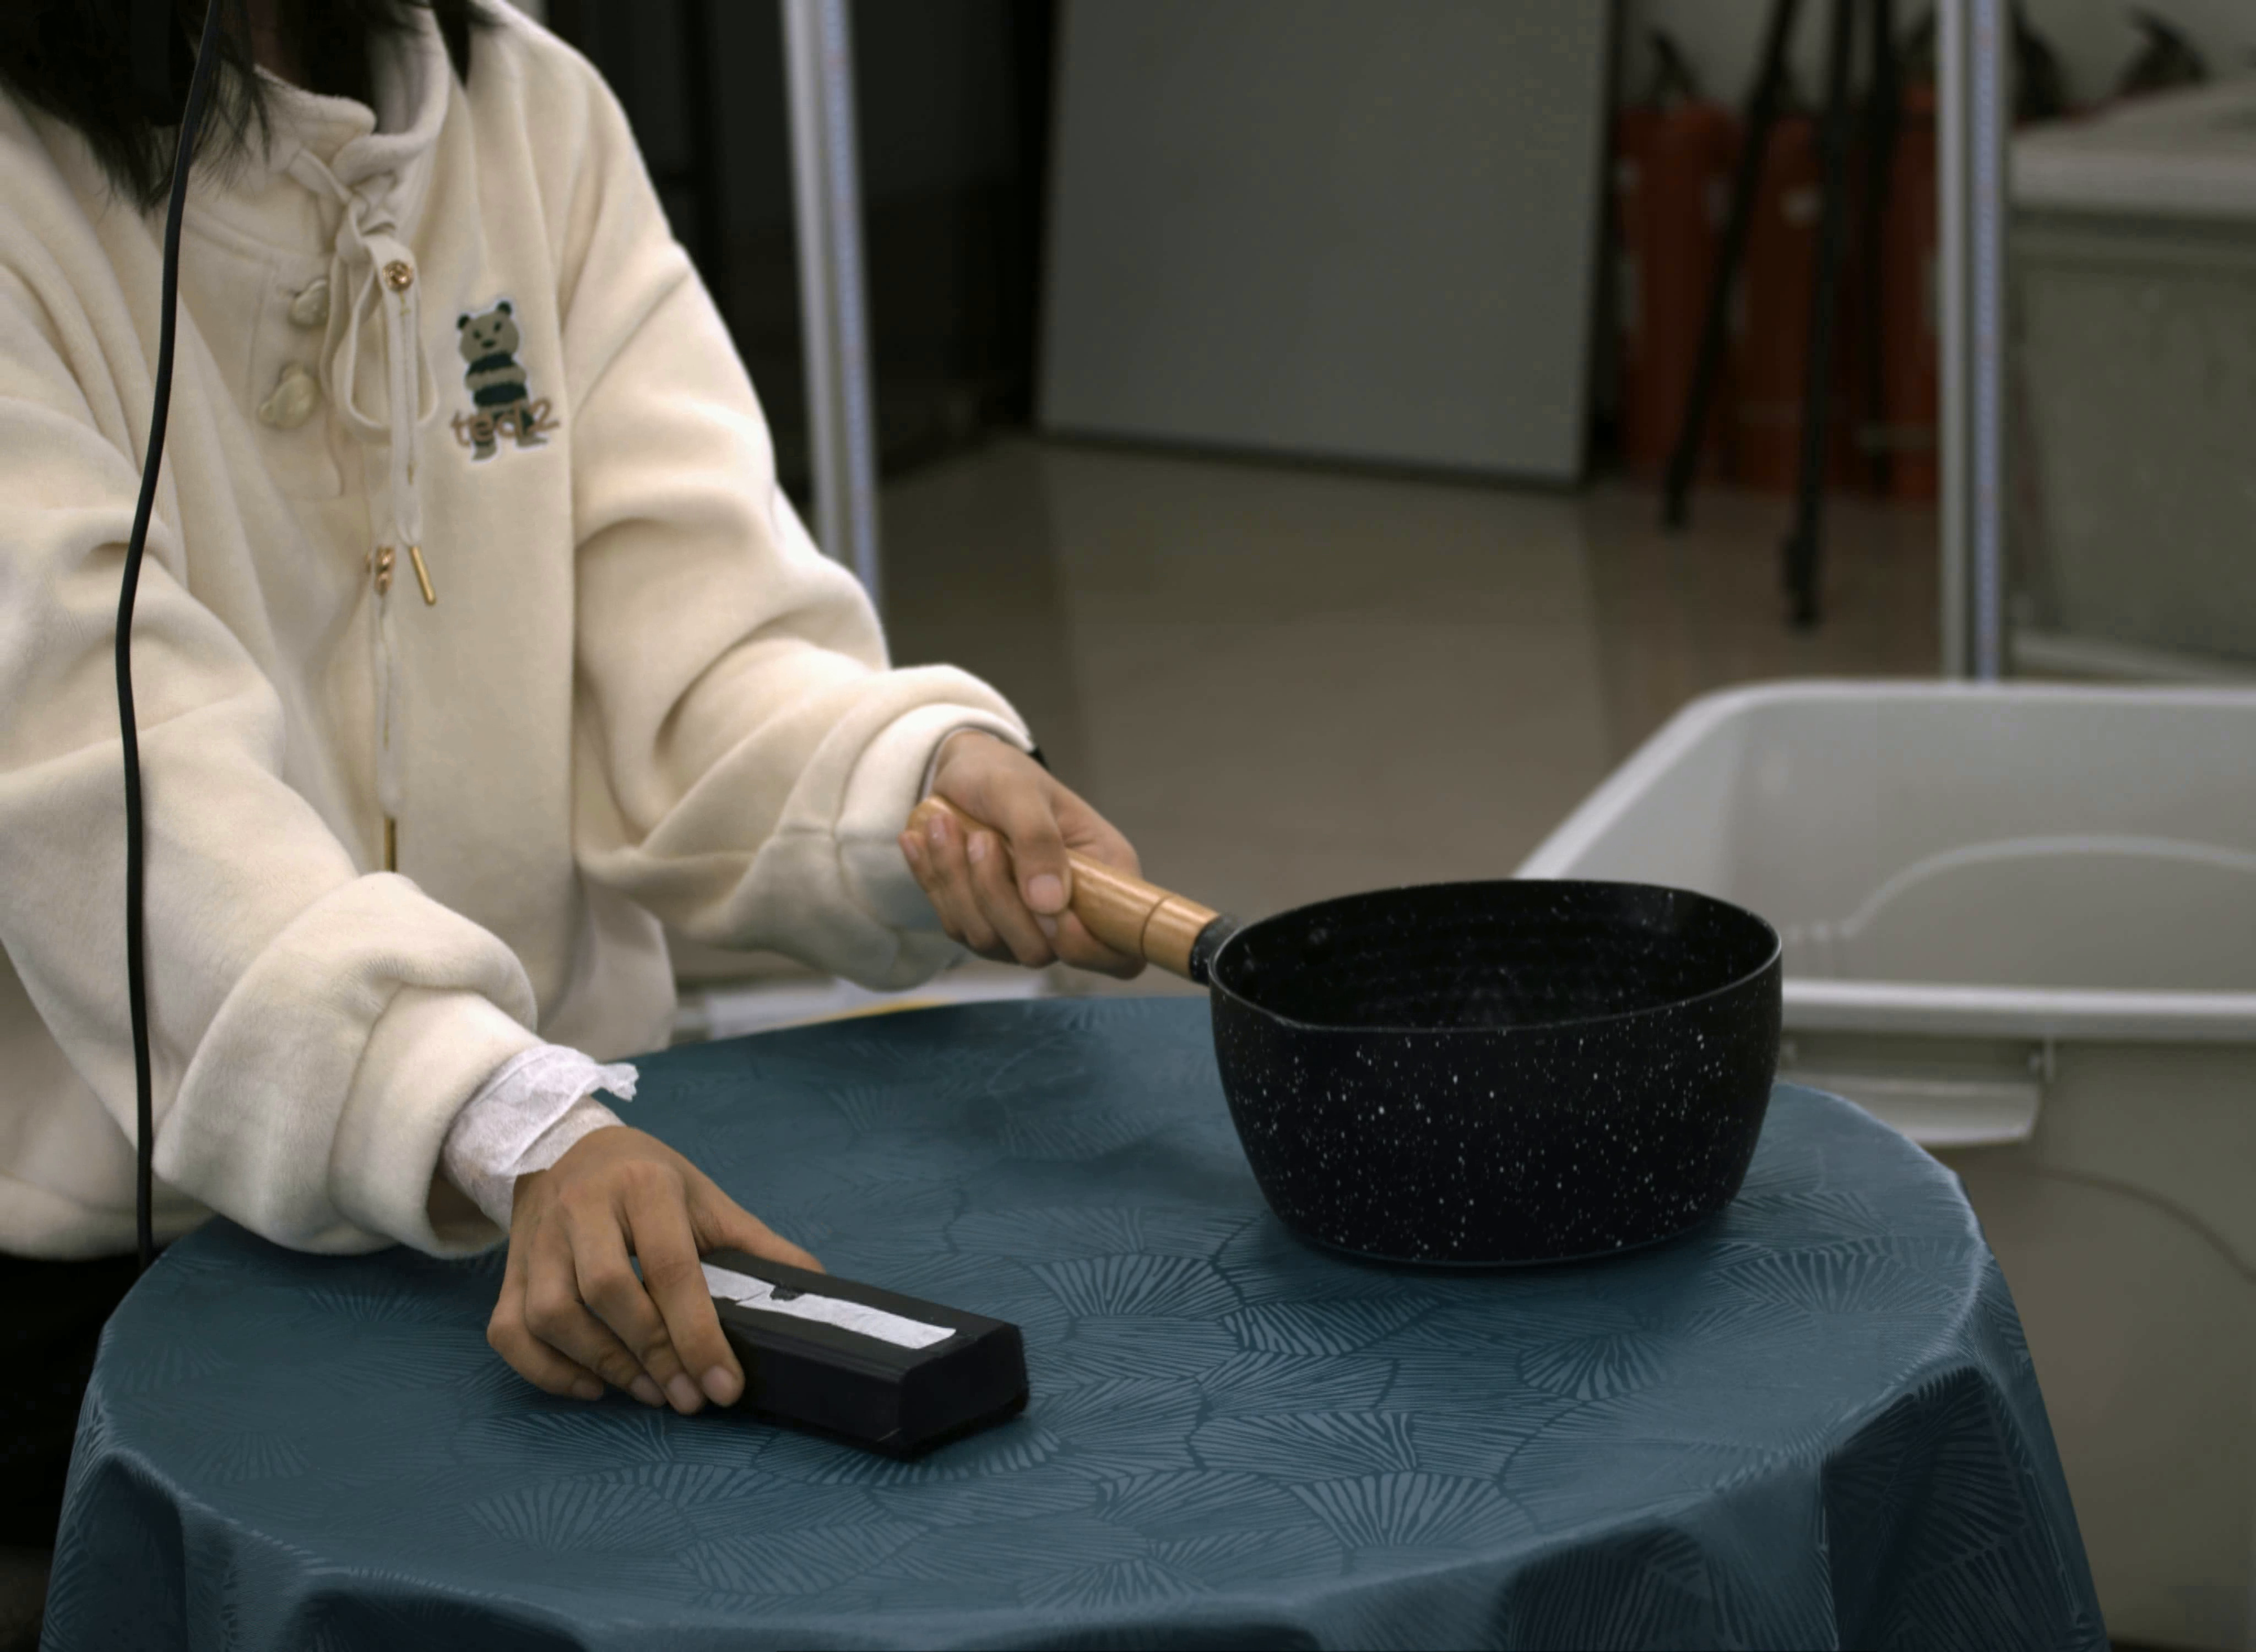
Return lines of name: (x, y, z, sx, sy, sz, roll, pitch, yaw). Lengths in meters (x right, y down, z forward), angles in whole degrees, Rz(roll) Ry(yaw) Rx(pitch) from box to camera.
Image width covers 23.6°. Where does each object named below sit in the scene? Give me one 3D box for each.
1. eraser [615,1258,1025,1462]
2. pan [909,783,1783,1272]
eraser: (-0.090, 0.156, 1.591, 0.126, 0.031, 0.052, 9, 19, 43)
pan: (0.057, 0.059, 1.767, 0.345, 0.109, 0.203, 9, 18, 40)
